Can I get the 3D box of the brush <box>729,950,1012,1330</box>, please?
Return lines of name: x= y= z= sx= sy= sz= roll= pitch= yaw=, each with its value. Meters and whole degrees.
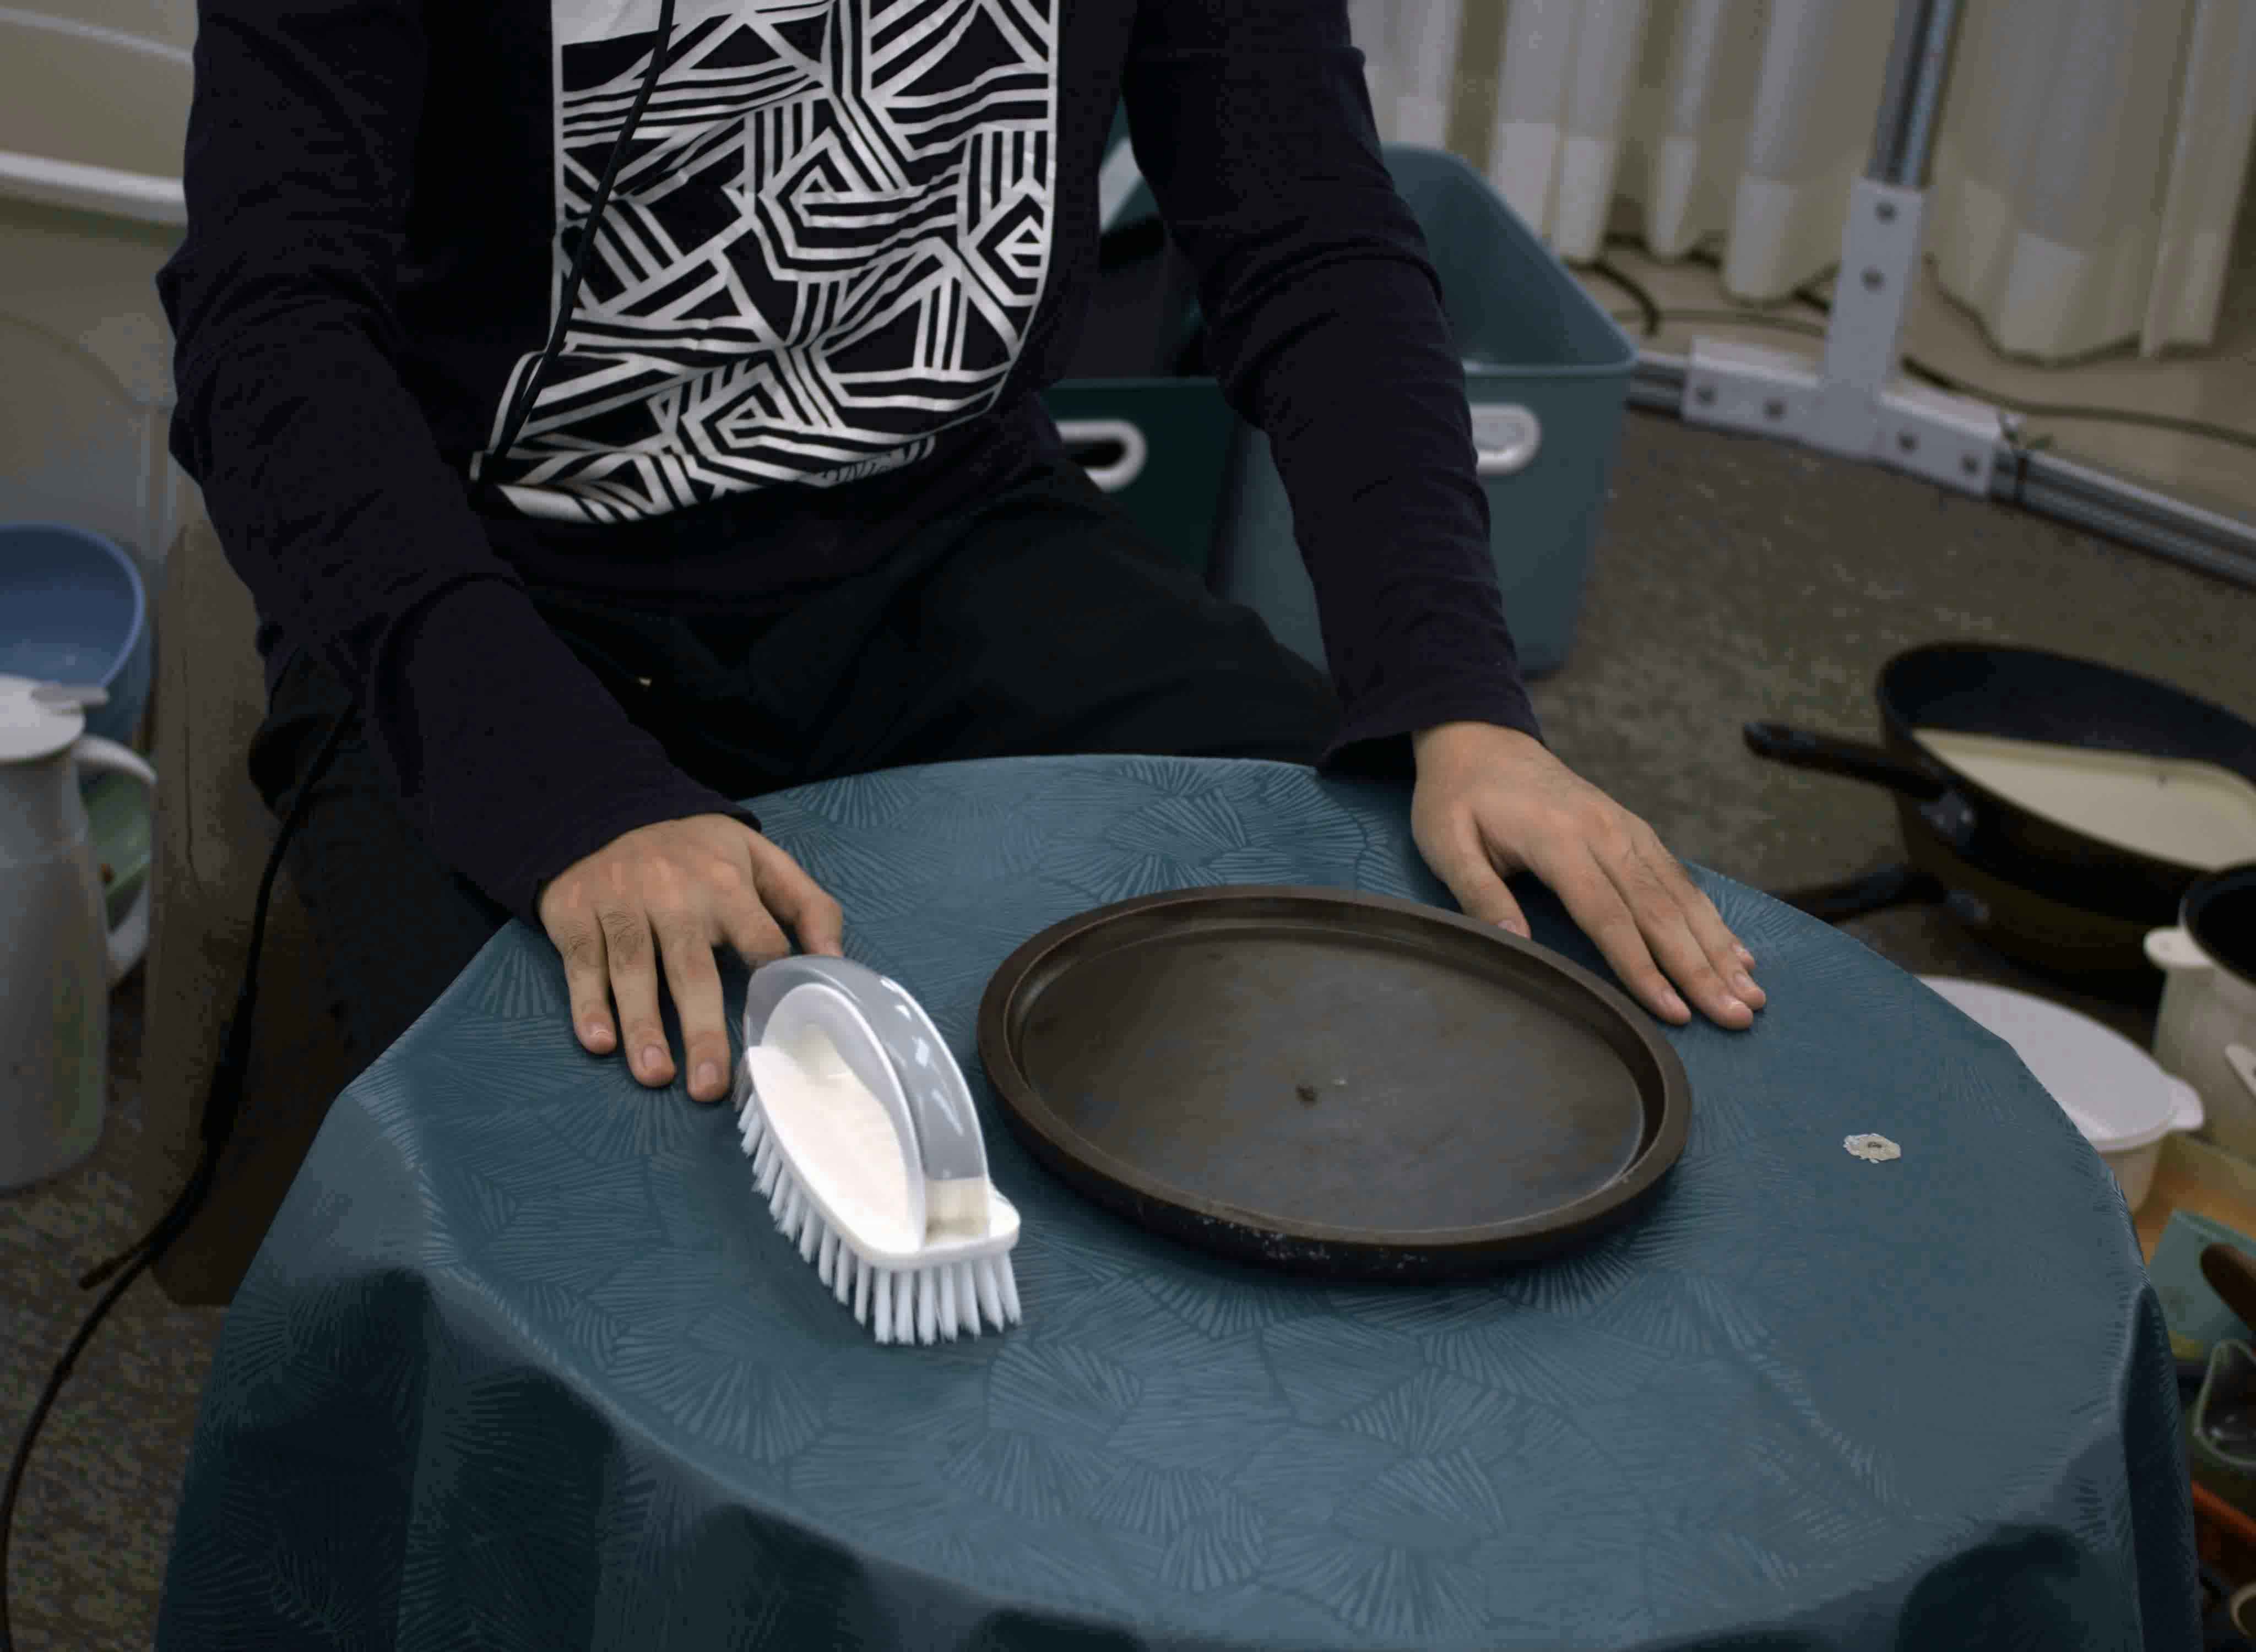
brush: x=-0.092 y=0.088 z=1.755 sx=0.061 sy=0.094 sz=0.177 roll=-6 pitch=27 yaw=-25

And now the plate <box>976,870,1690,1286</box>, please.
plate: x=0.071 y=0.089 z=1.866 sx=0.254 sy=0.029 sz=0.256 roll=5 pitch=28 yaw=-3
